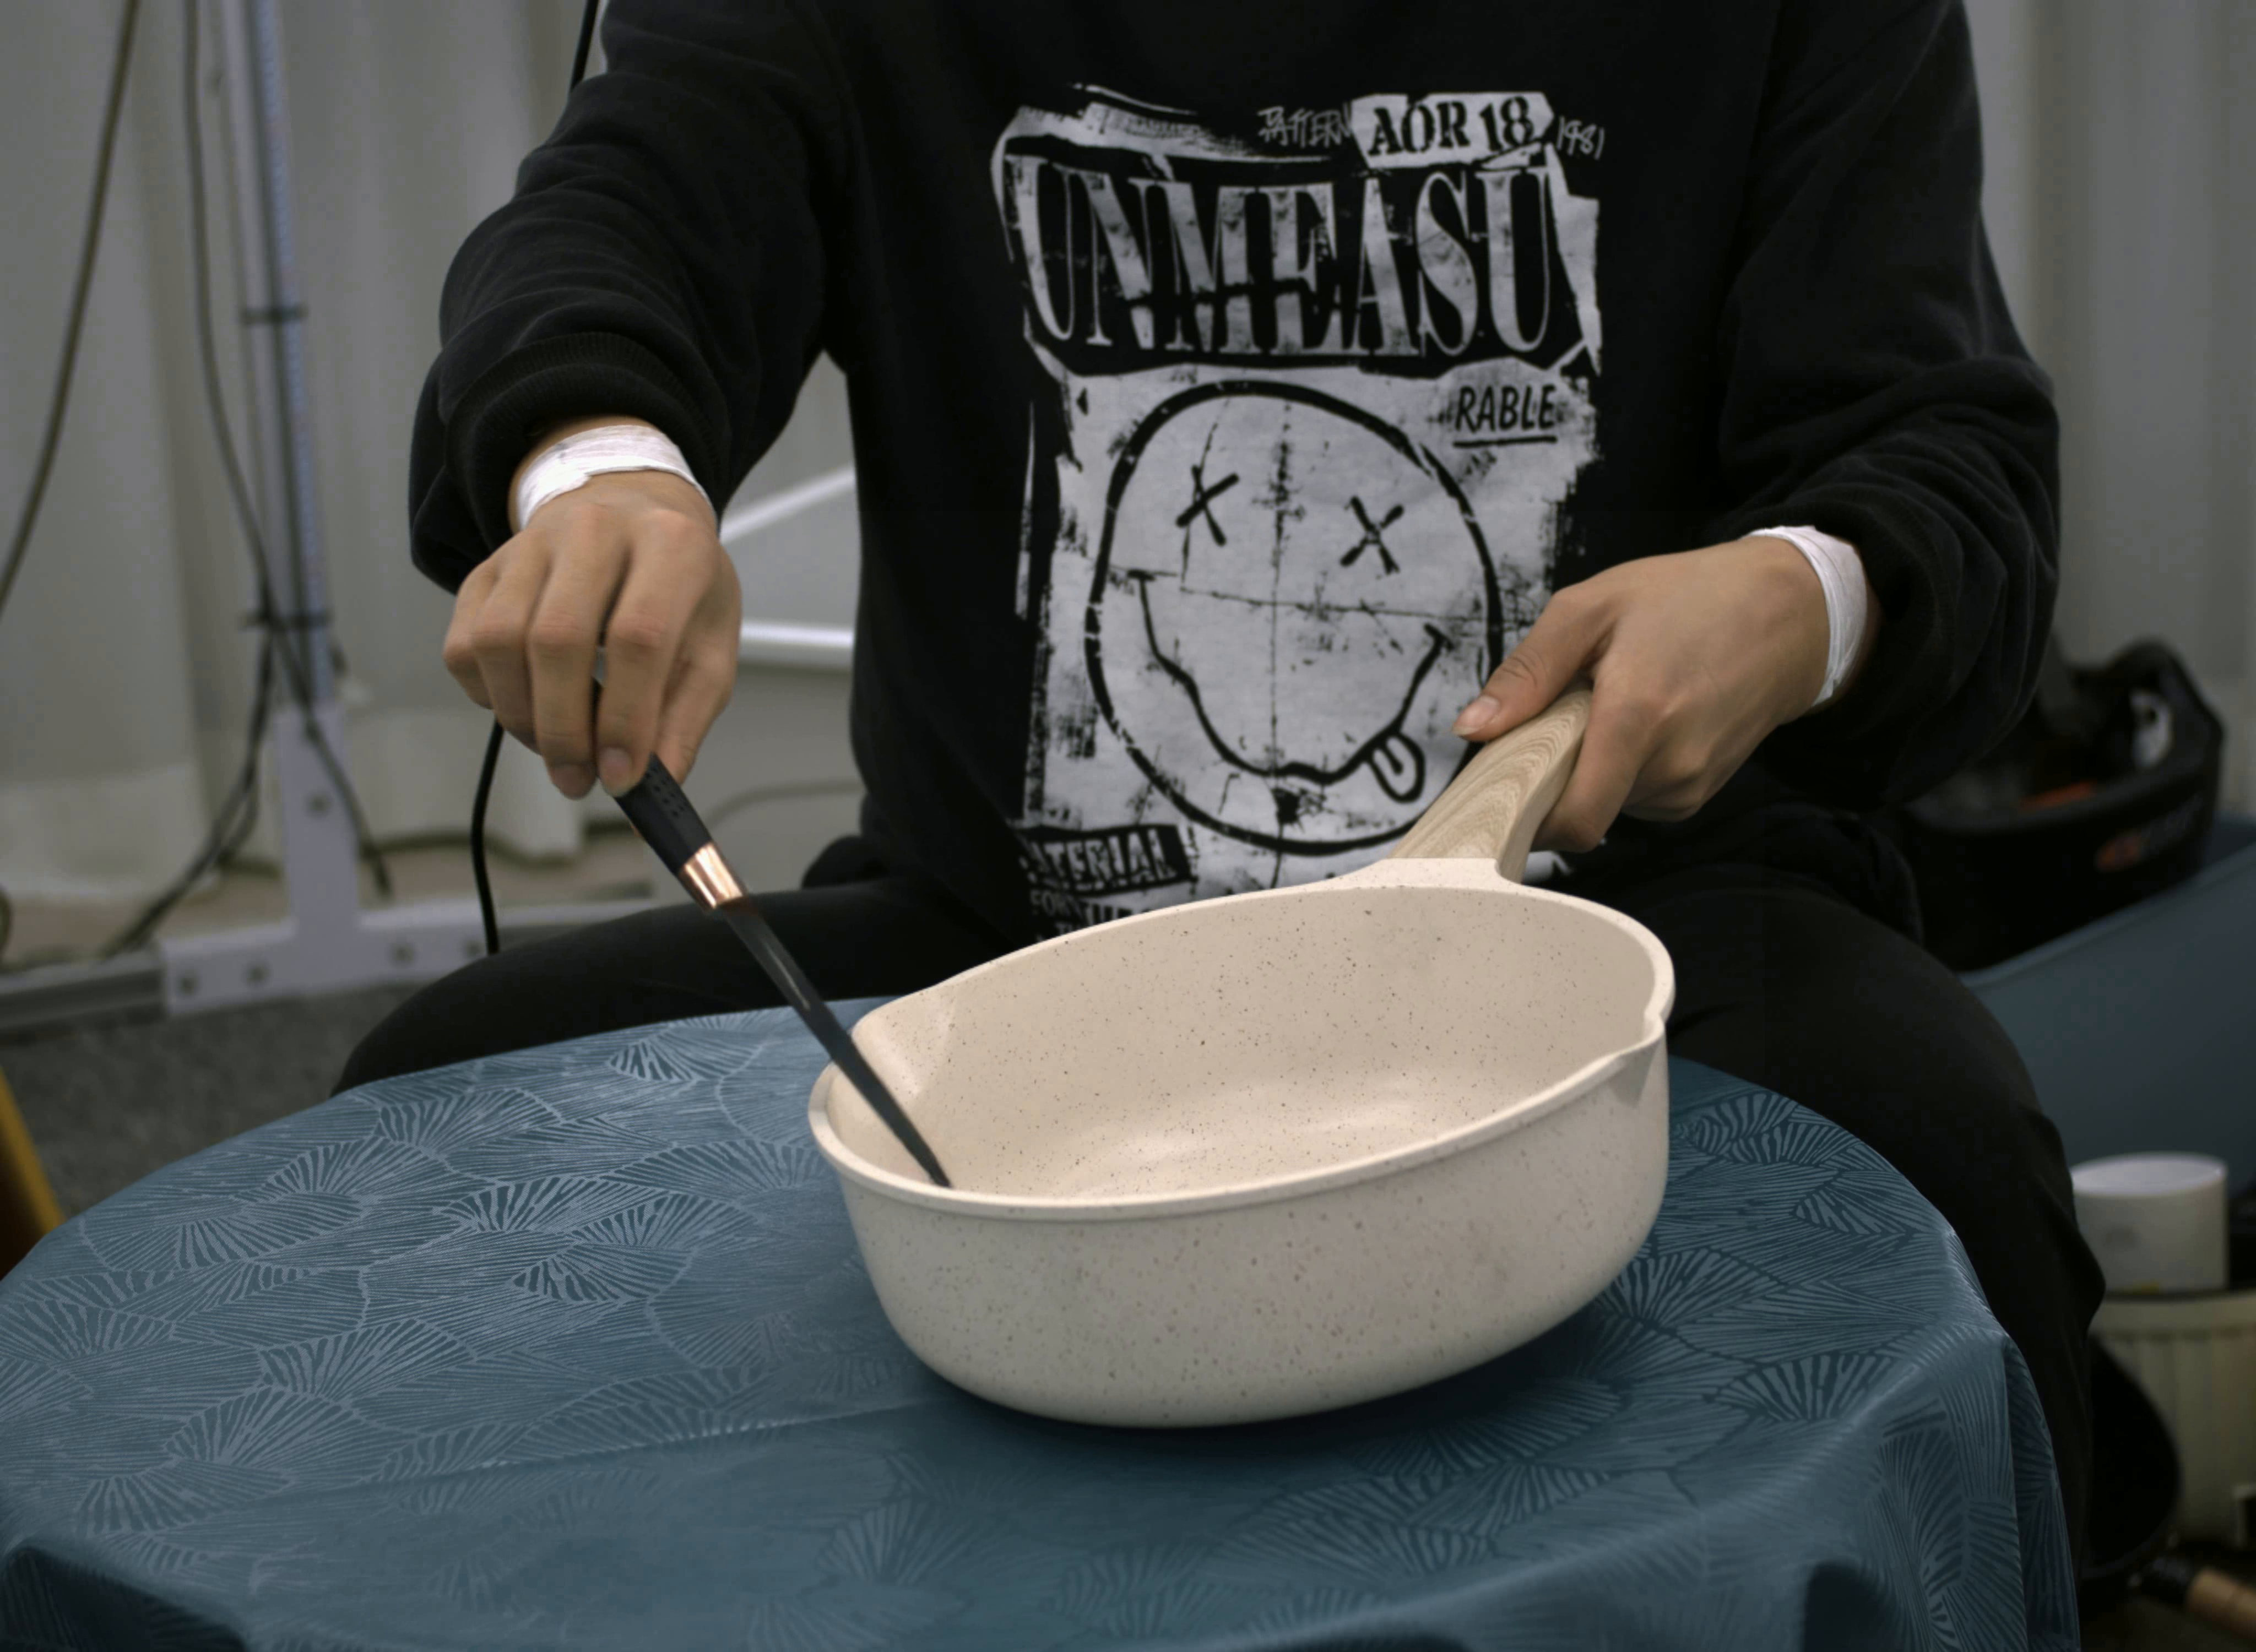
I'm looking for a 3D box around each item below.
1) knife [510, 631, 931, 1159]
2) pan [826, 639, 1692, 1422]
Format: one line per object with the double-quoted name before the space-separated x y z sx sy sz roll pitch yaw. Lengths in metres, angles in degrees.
"knife" -0.112 0.028 1.584 0.017 0.227 0.026 -40 -20 4
"pan" 0.081 0.058 1.649 0.263 0.101 0.436 -3 18 28
